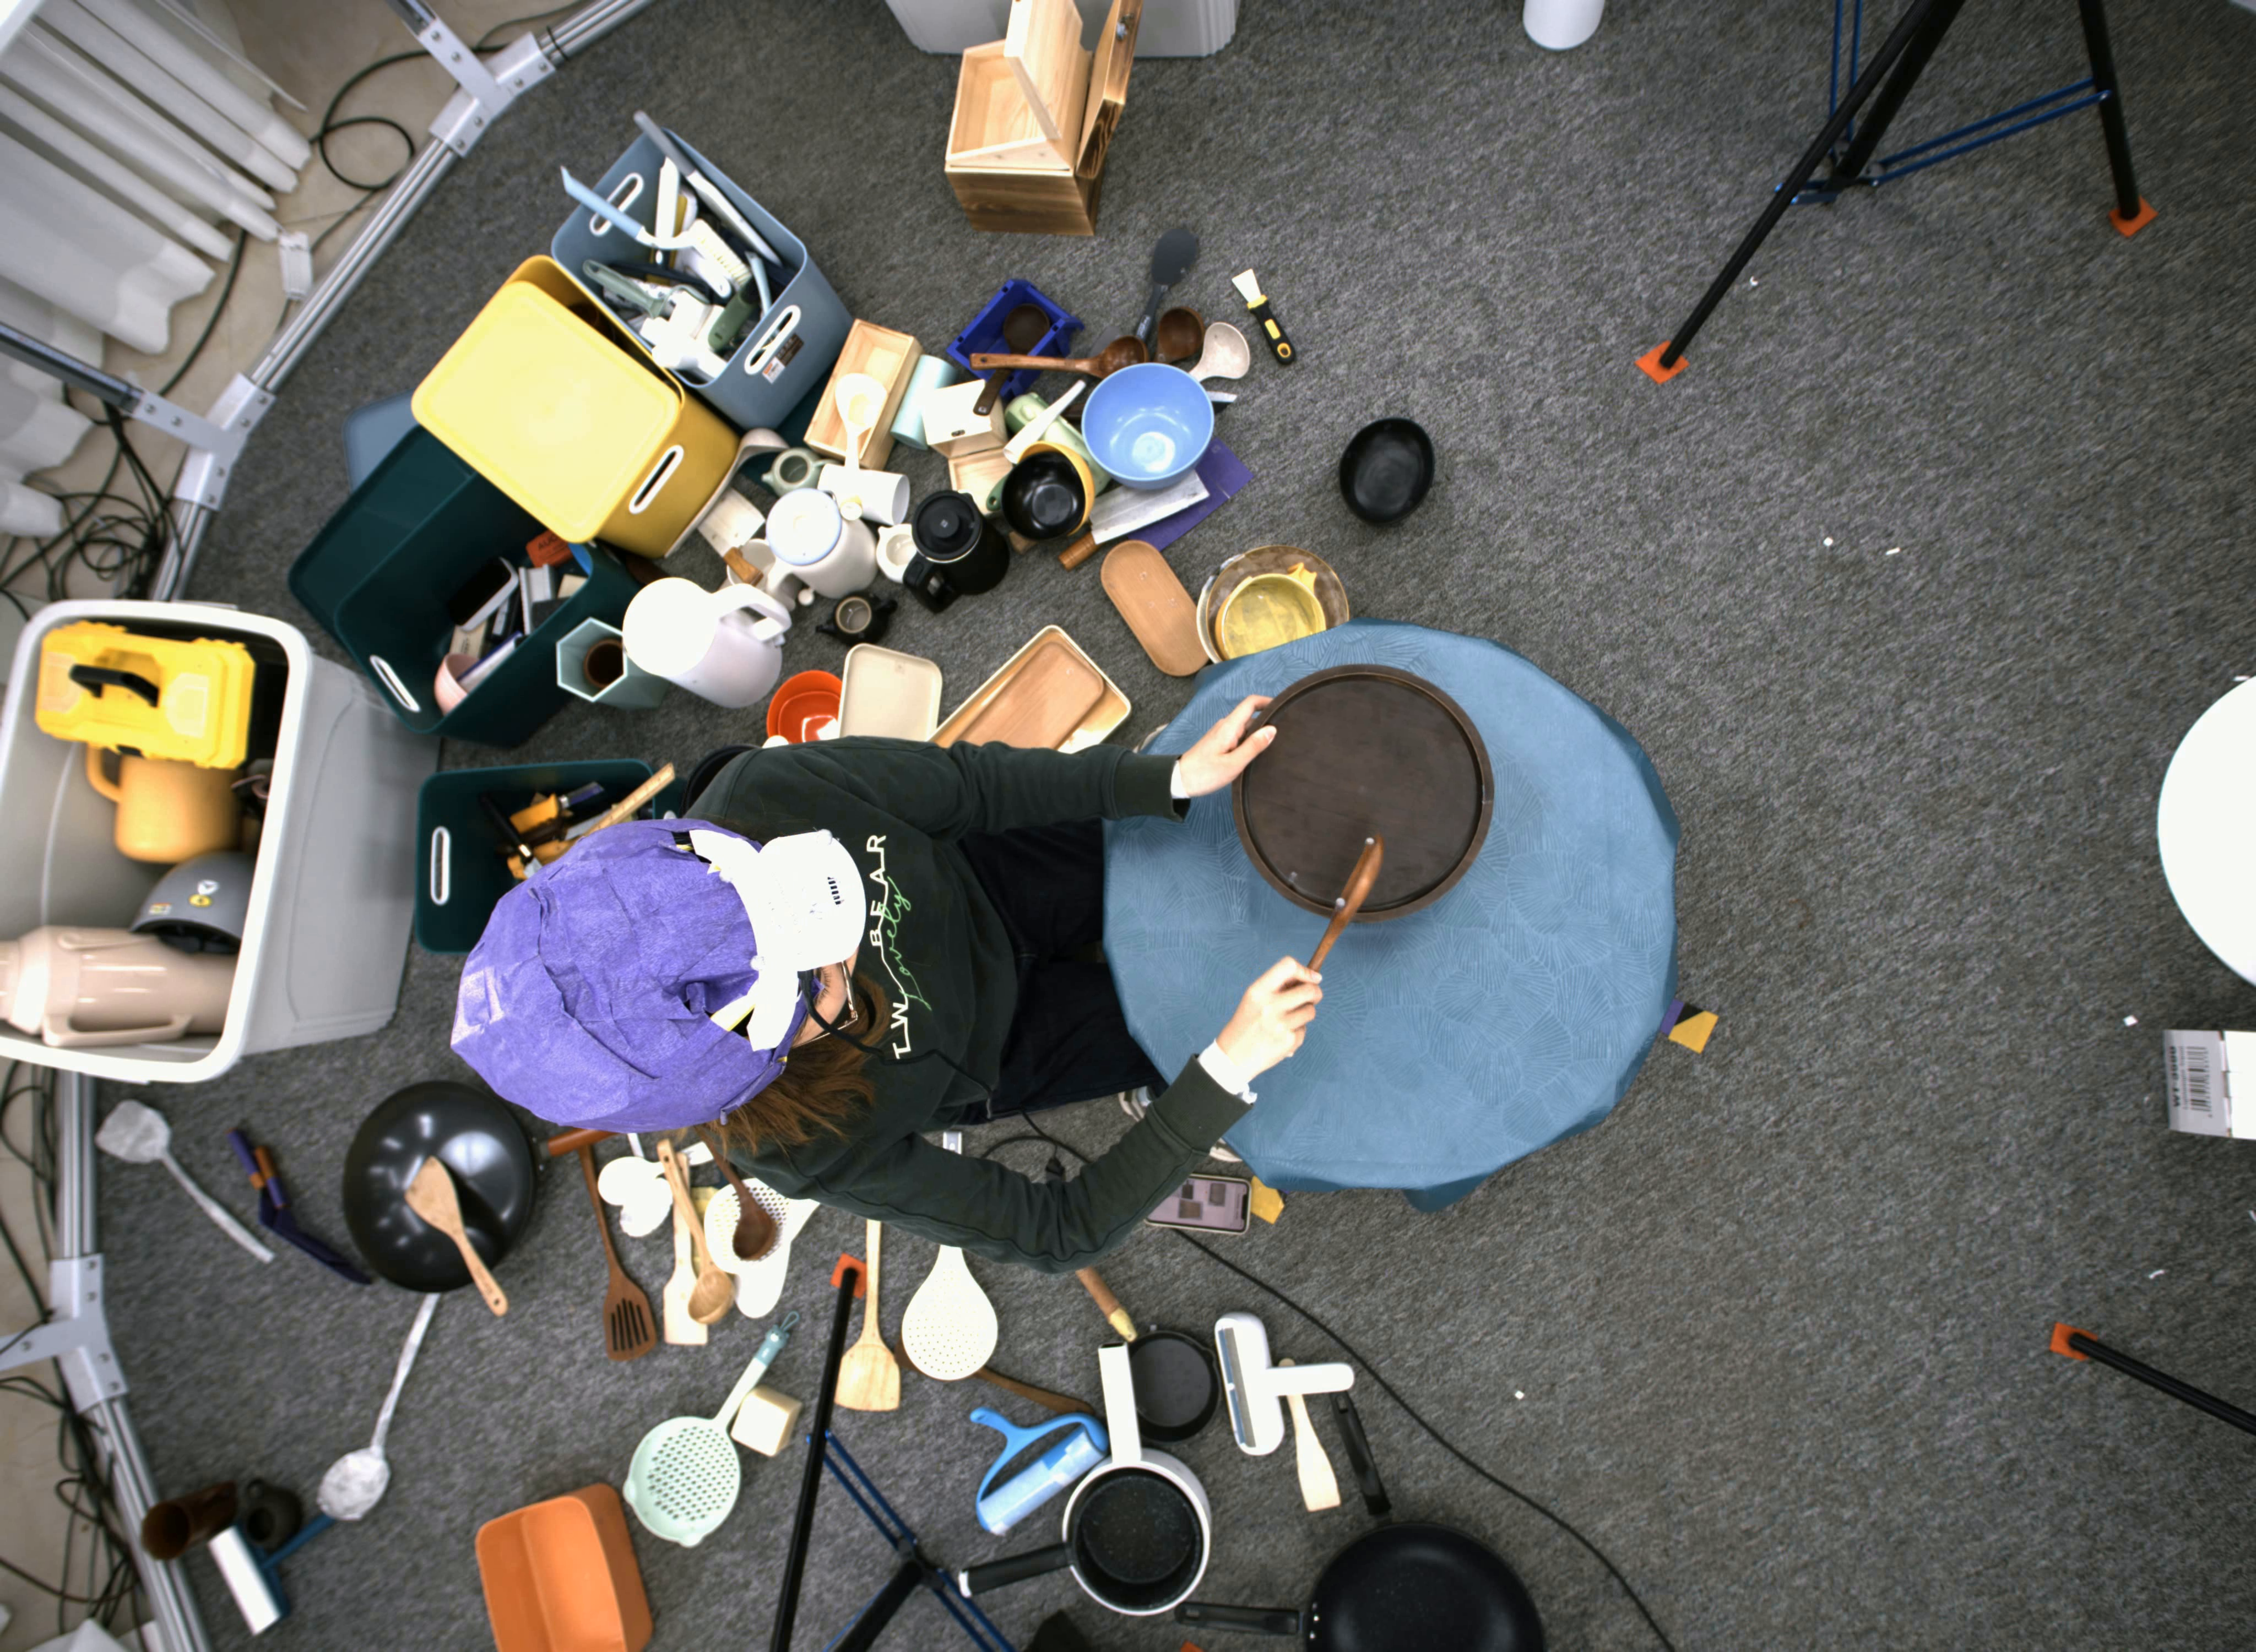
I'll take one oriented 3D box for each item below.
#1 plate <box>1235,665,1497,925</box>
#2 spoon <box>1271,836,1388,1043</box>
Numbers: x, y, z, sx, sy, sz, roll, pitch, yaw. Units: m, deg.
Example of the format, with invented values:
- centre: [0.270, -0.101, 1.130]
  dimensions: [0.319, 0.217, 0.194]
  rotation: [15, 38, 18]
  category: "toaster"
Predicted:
- centre: [0.231, -0.031, 1.349]
  dimensions: [0.255, 0.029, 0.255]
  rotation: [0, 94, 9]
  category: "plate"
- centre: [0.189, 0.105, 1.276]
  dimensions: [0.017, 0.075, 0.217]
  rotation: [28, 99, 4]
  category: "spoon"
